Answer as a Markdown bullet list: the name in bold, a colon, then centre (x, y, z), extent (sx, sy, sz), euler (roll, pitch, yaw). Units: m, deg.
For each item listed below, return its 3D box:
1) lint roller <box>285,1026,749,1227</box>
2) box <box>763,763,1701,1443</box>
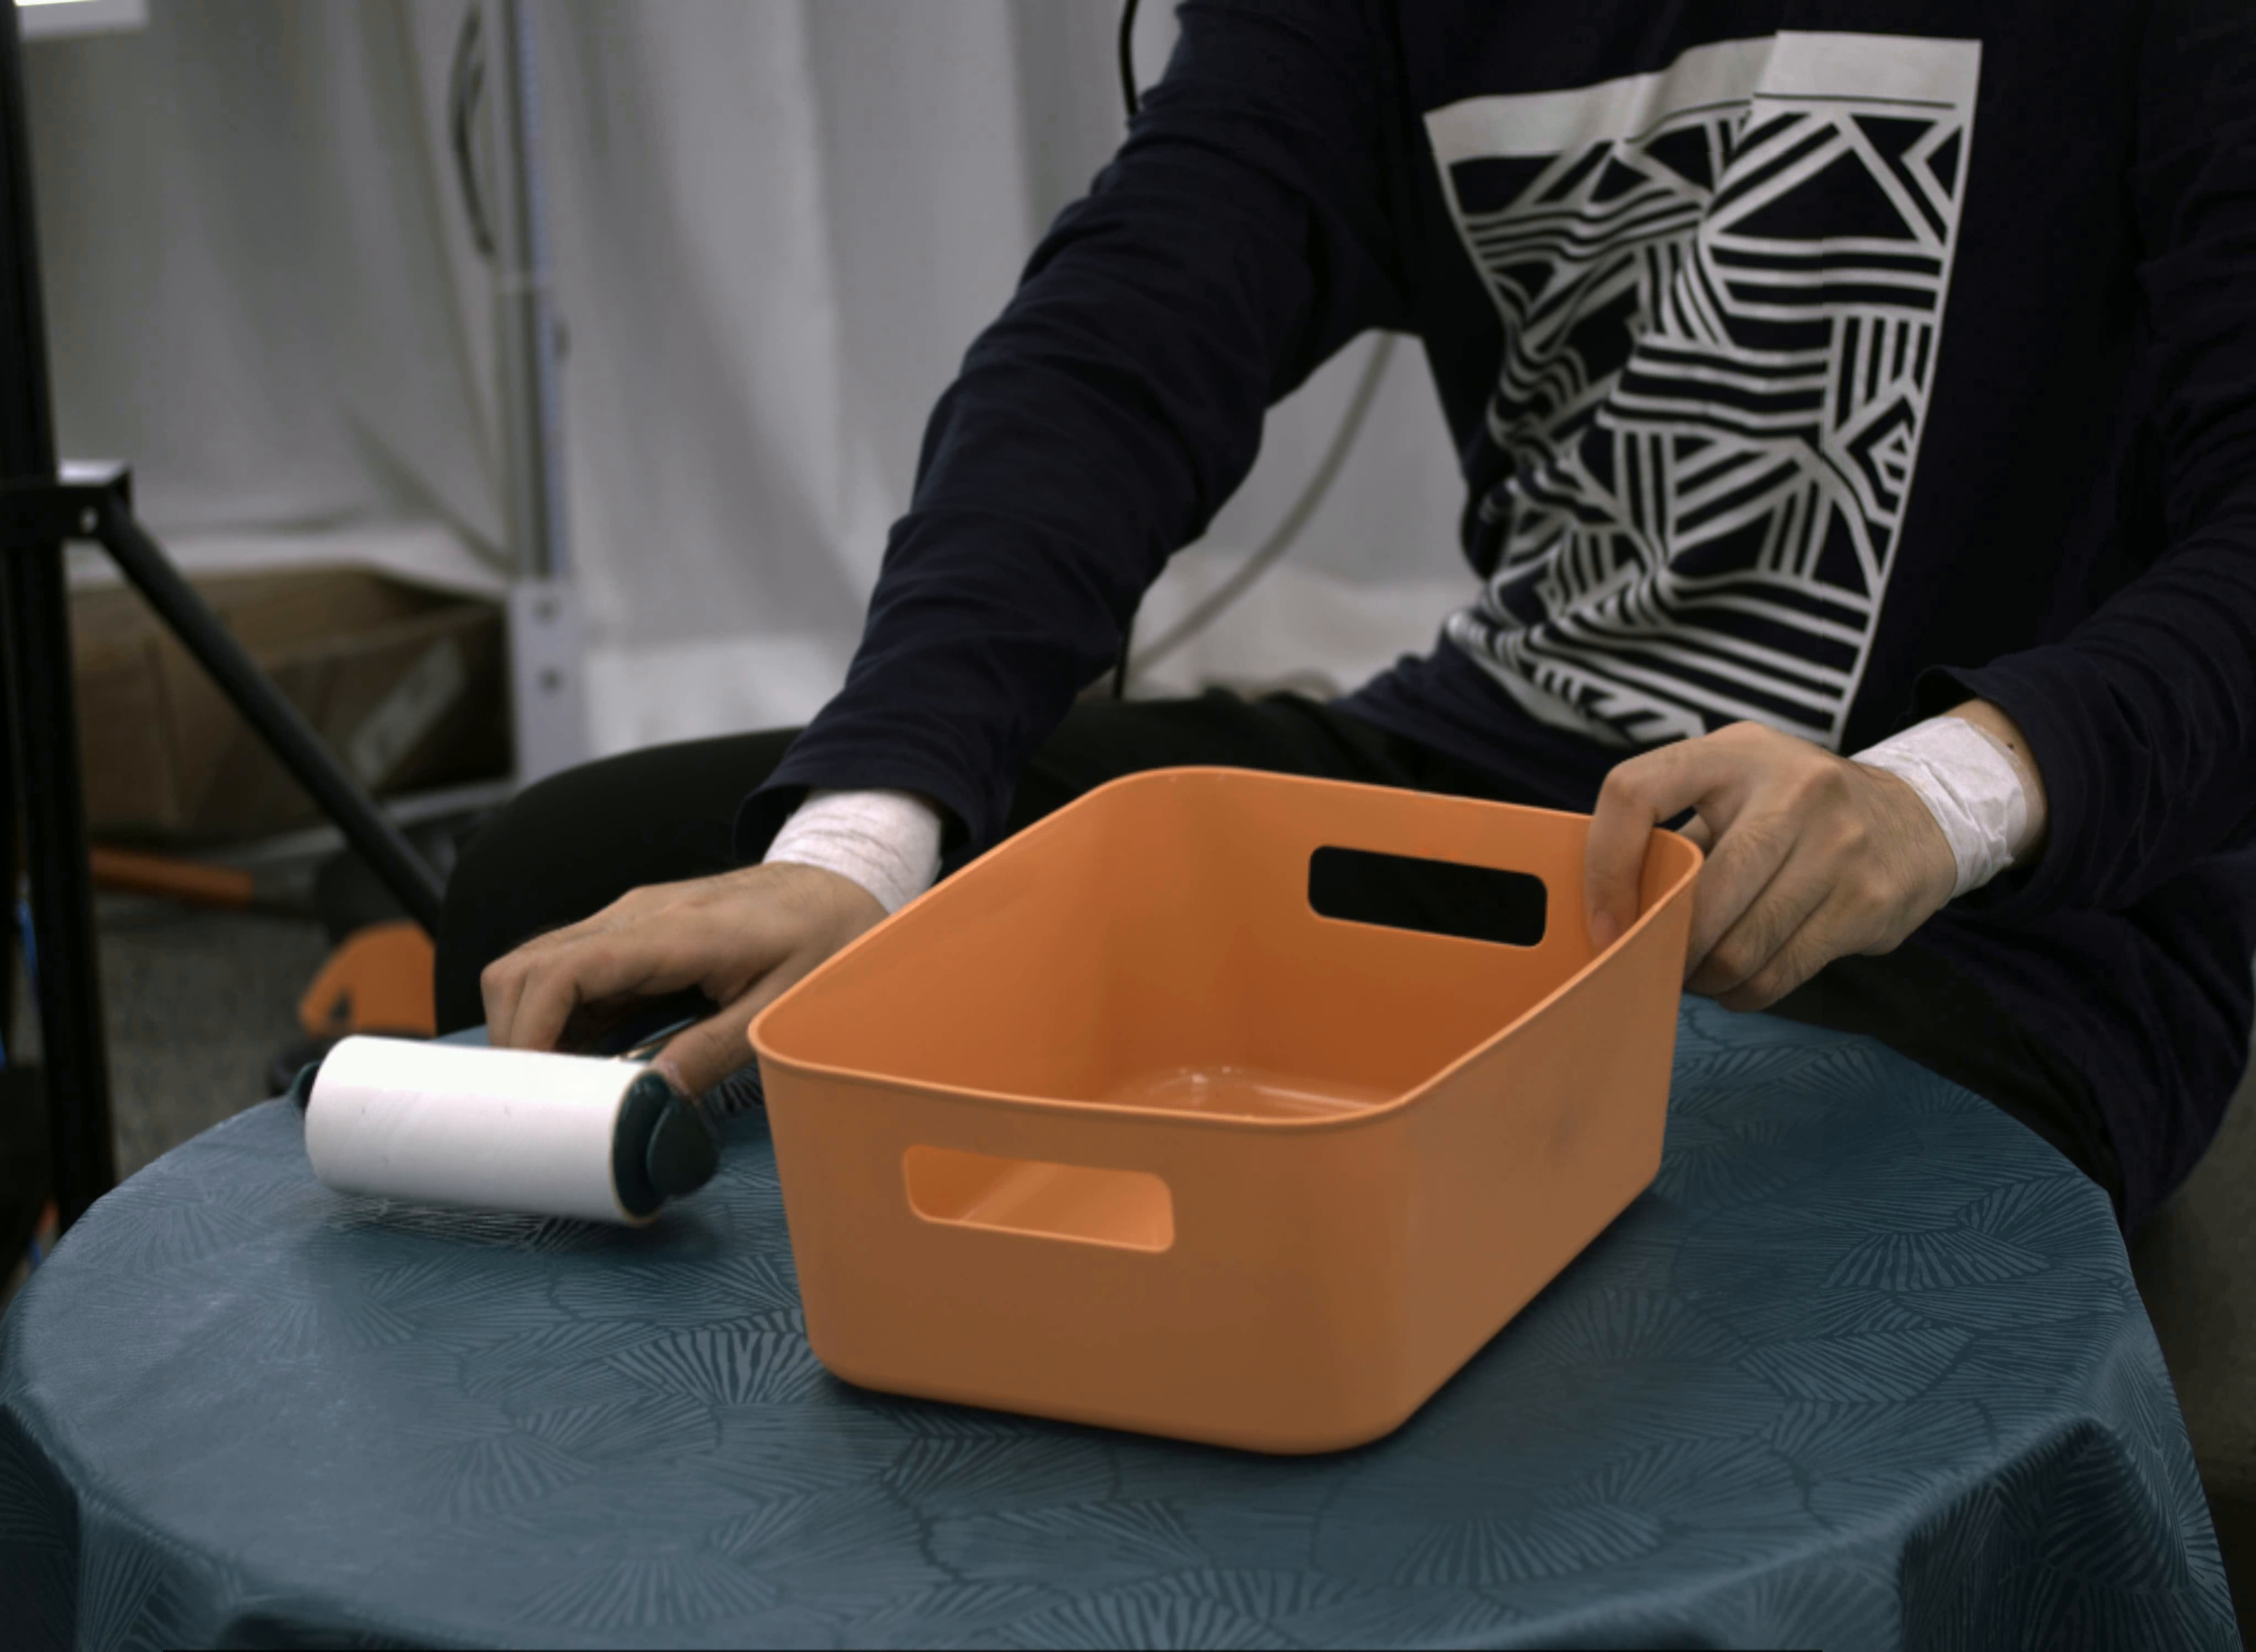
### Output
- **lint roller**: centre (-0.160, 0.071, 1.613), extent (0.136, 0.048, 0.178), euler (4, 18, 22)
- **box**: centre (0.032, 0.073, 1.470), extent (0.202, 0.102, 0.269), euler (8, 19, 25)
